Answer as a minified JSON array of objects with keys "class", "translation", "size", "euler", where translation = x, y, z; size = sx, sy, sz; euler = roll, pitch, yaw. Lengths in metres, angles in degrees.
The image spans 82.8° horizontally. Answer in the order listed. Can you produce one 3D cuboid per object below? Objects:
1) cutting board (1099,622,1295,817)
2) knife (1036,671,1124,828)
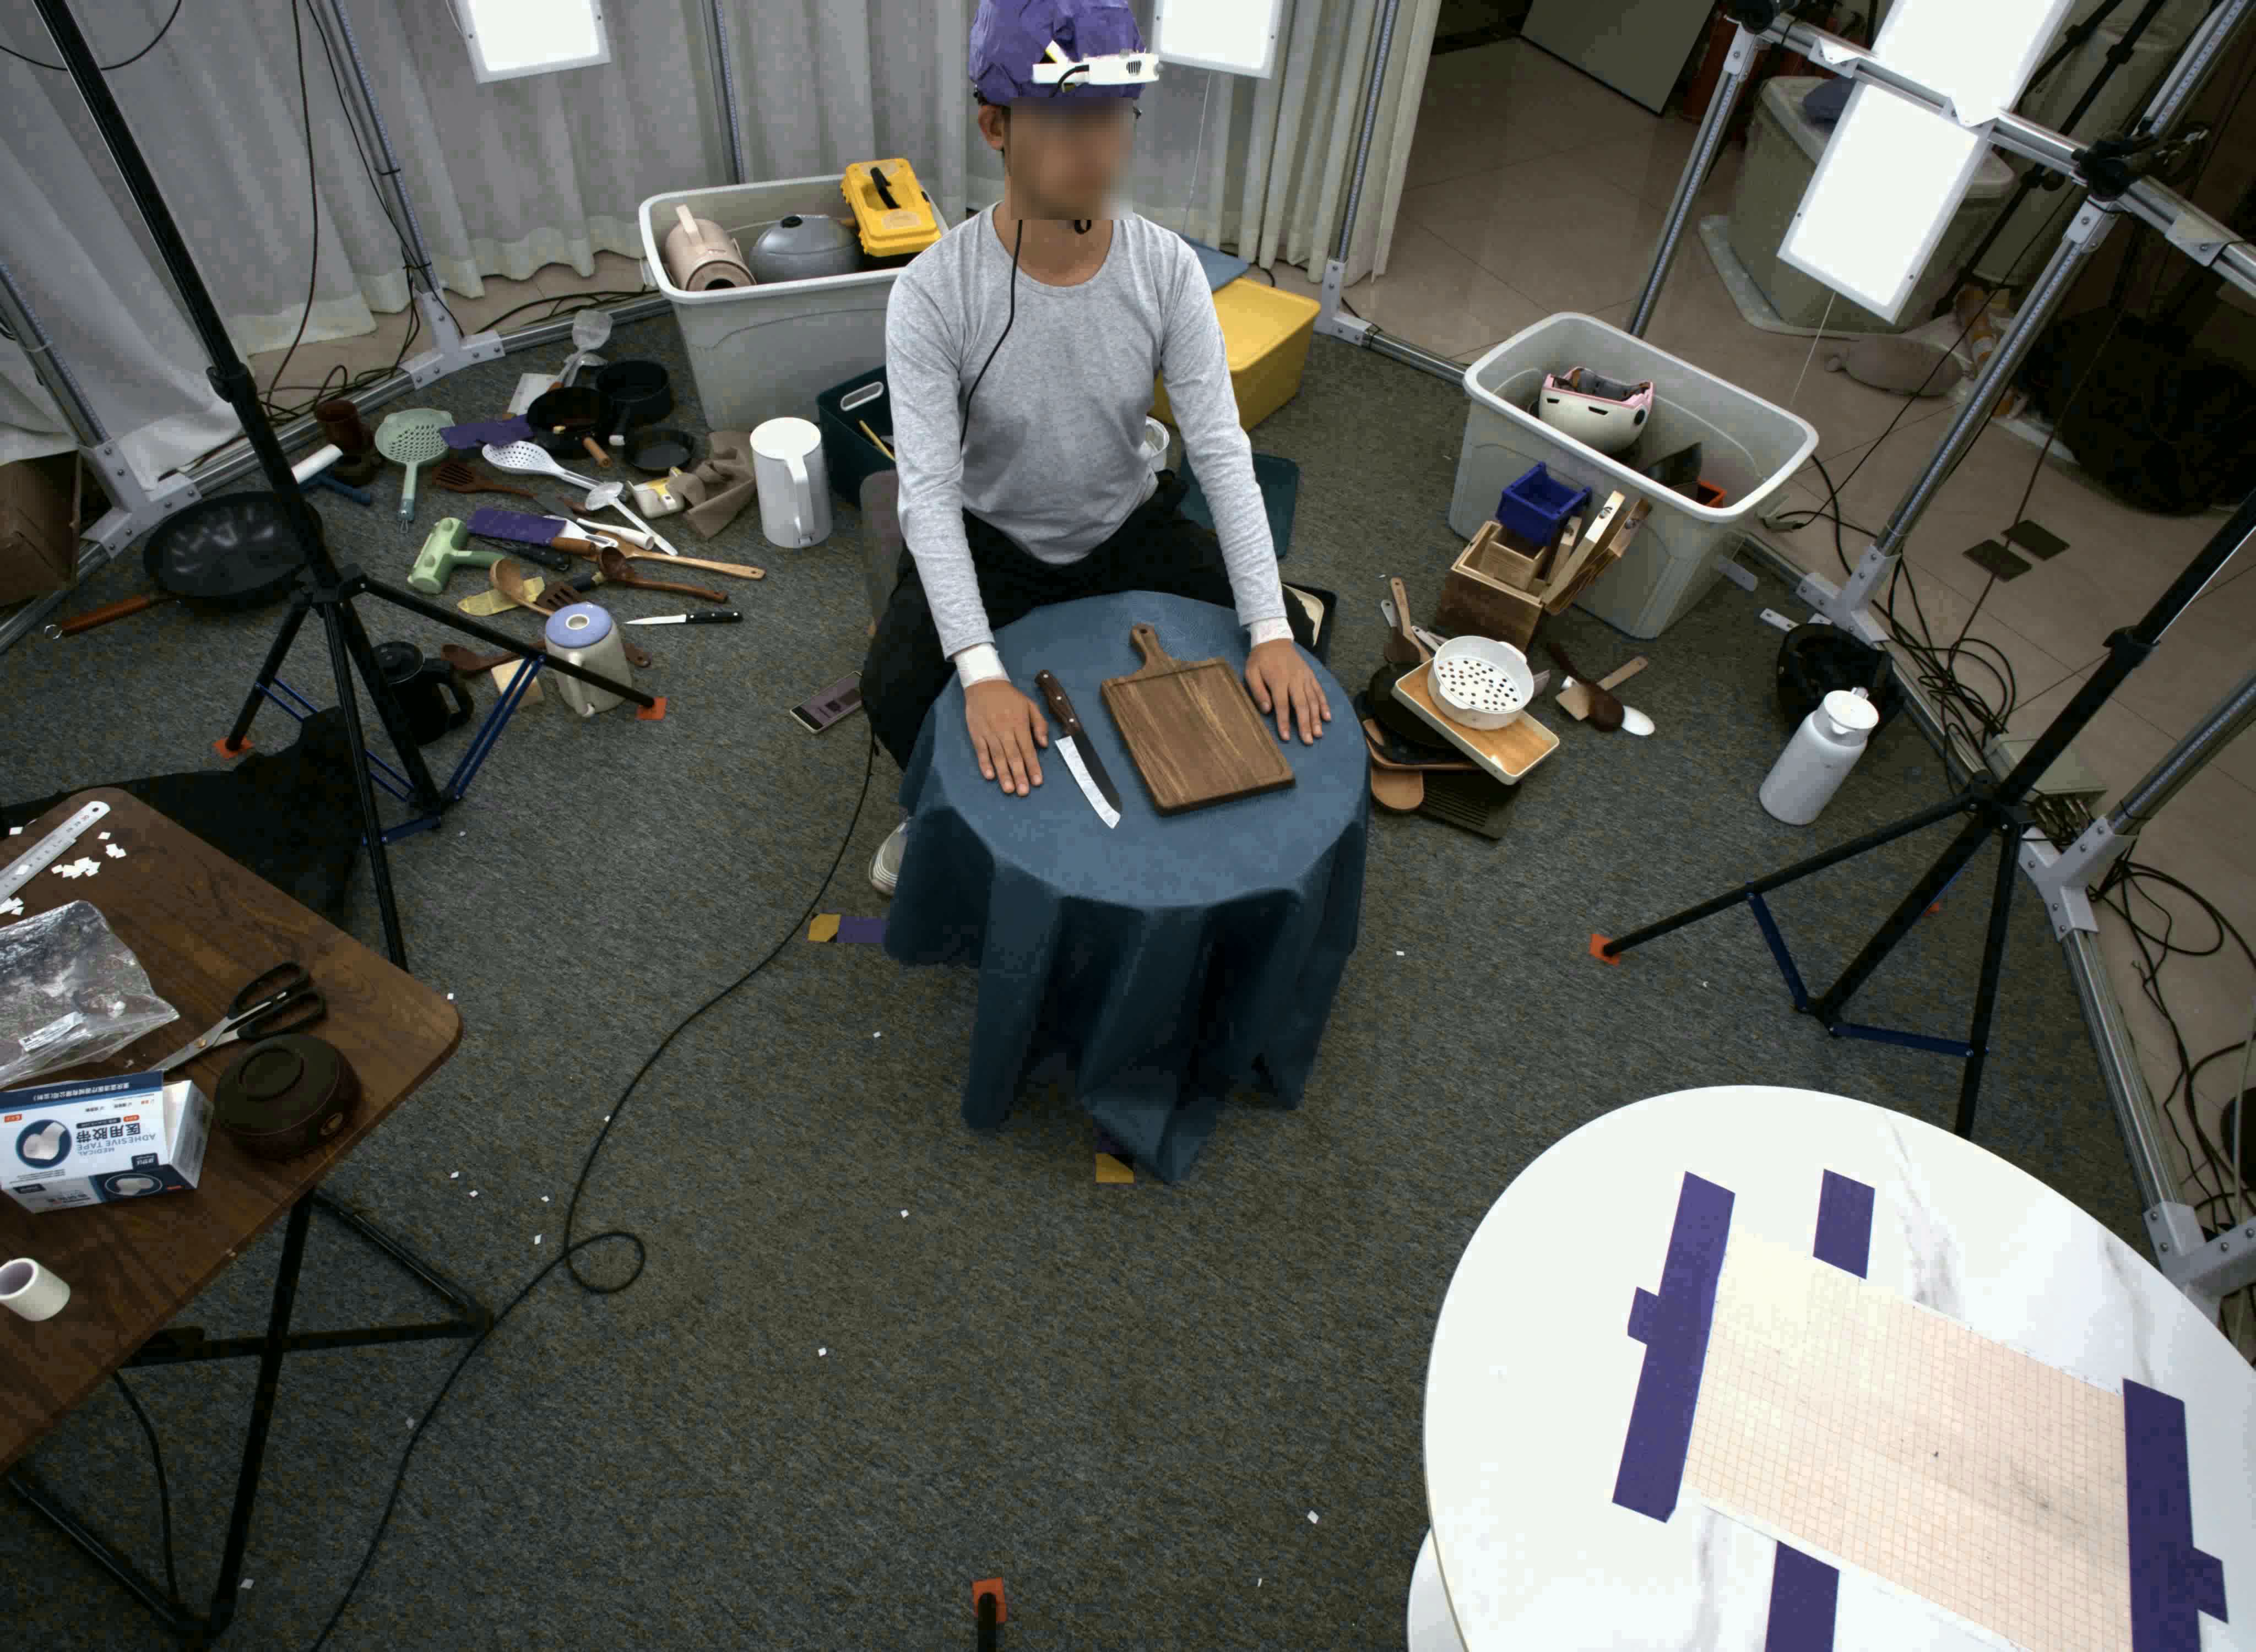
[{"class":"cutting board","translation":[0.076,-0.167,1.804],"size":[0.201,0.022,0.360],"euler":[-13,51,-15]},{"class":"knife","translation":[-0.068,-0.107,1.746],"size":[0.050,0.019,0.296],"euler":[-18,55,-12]}]
